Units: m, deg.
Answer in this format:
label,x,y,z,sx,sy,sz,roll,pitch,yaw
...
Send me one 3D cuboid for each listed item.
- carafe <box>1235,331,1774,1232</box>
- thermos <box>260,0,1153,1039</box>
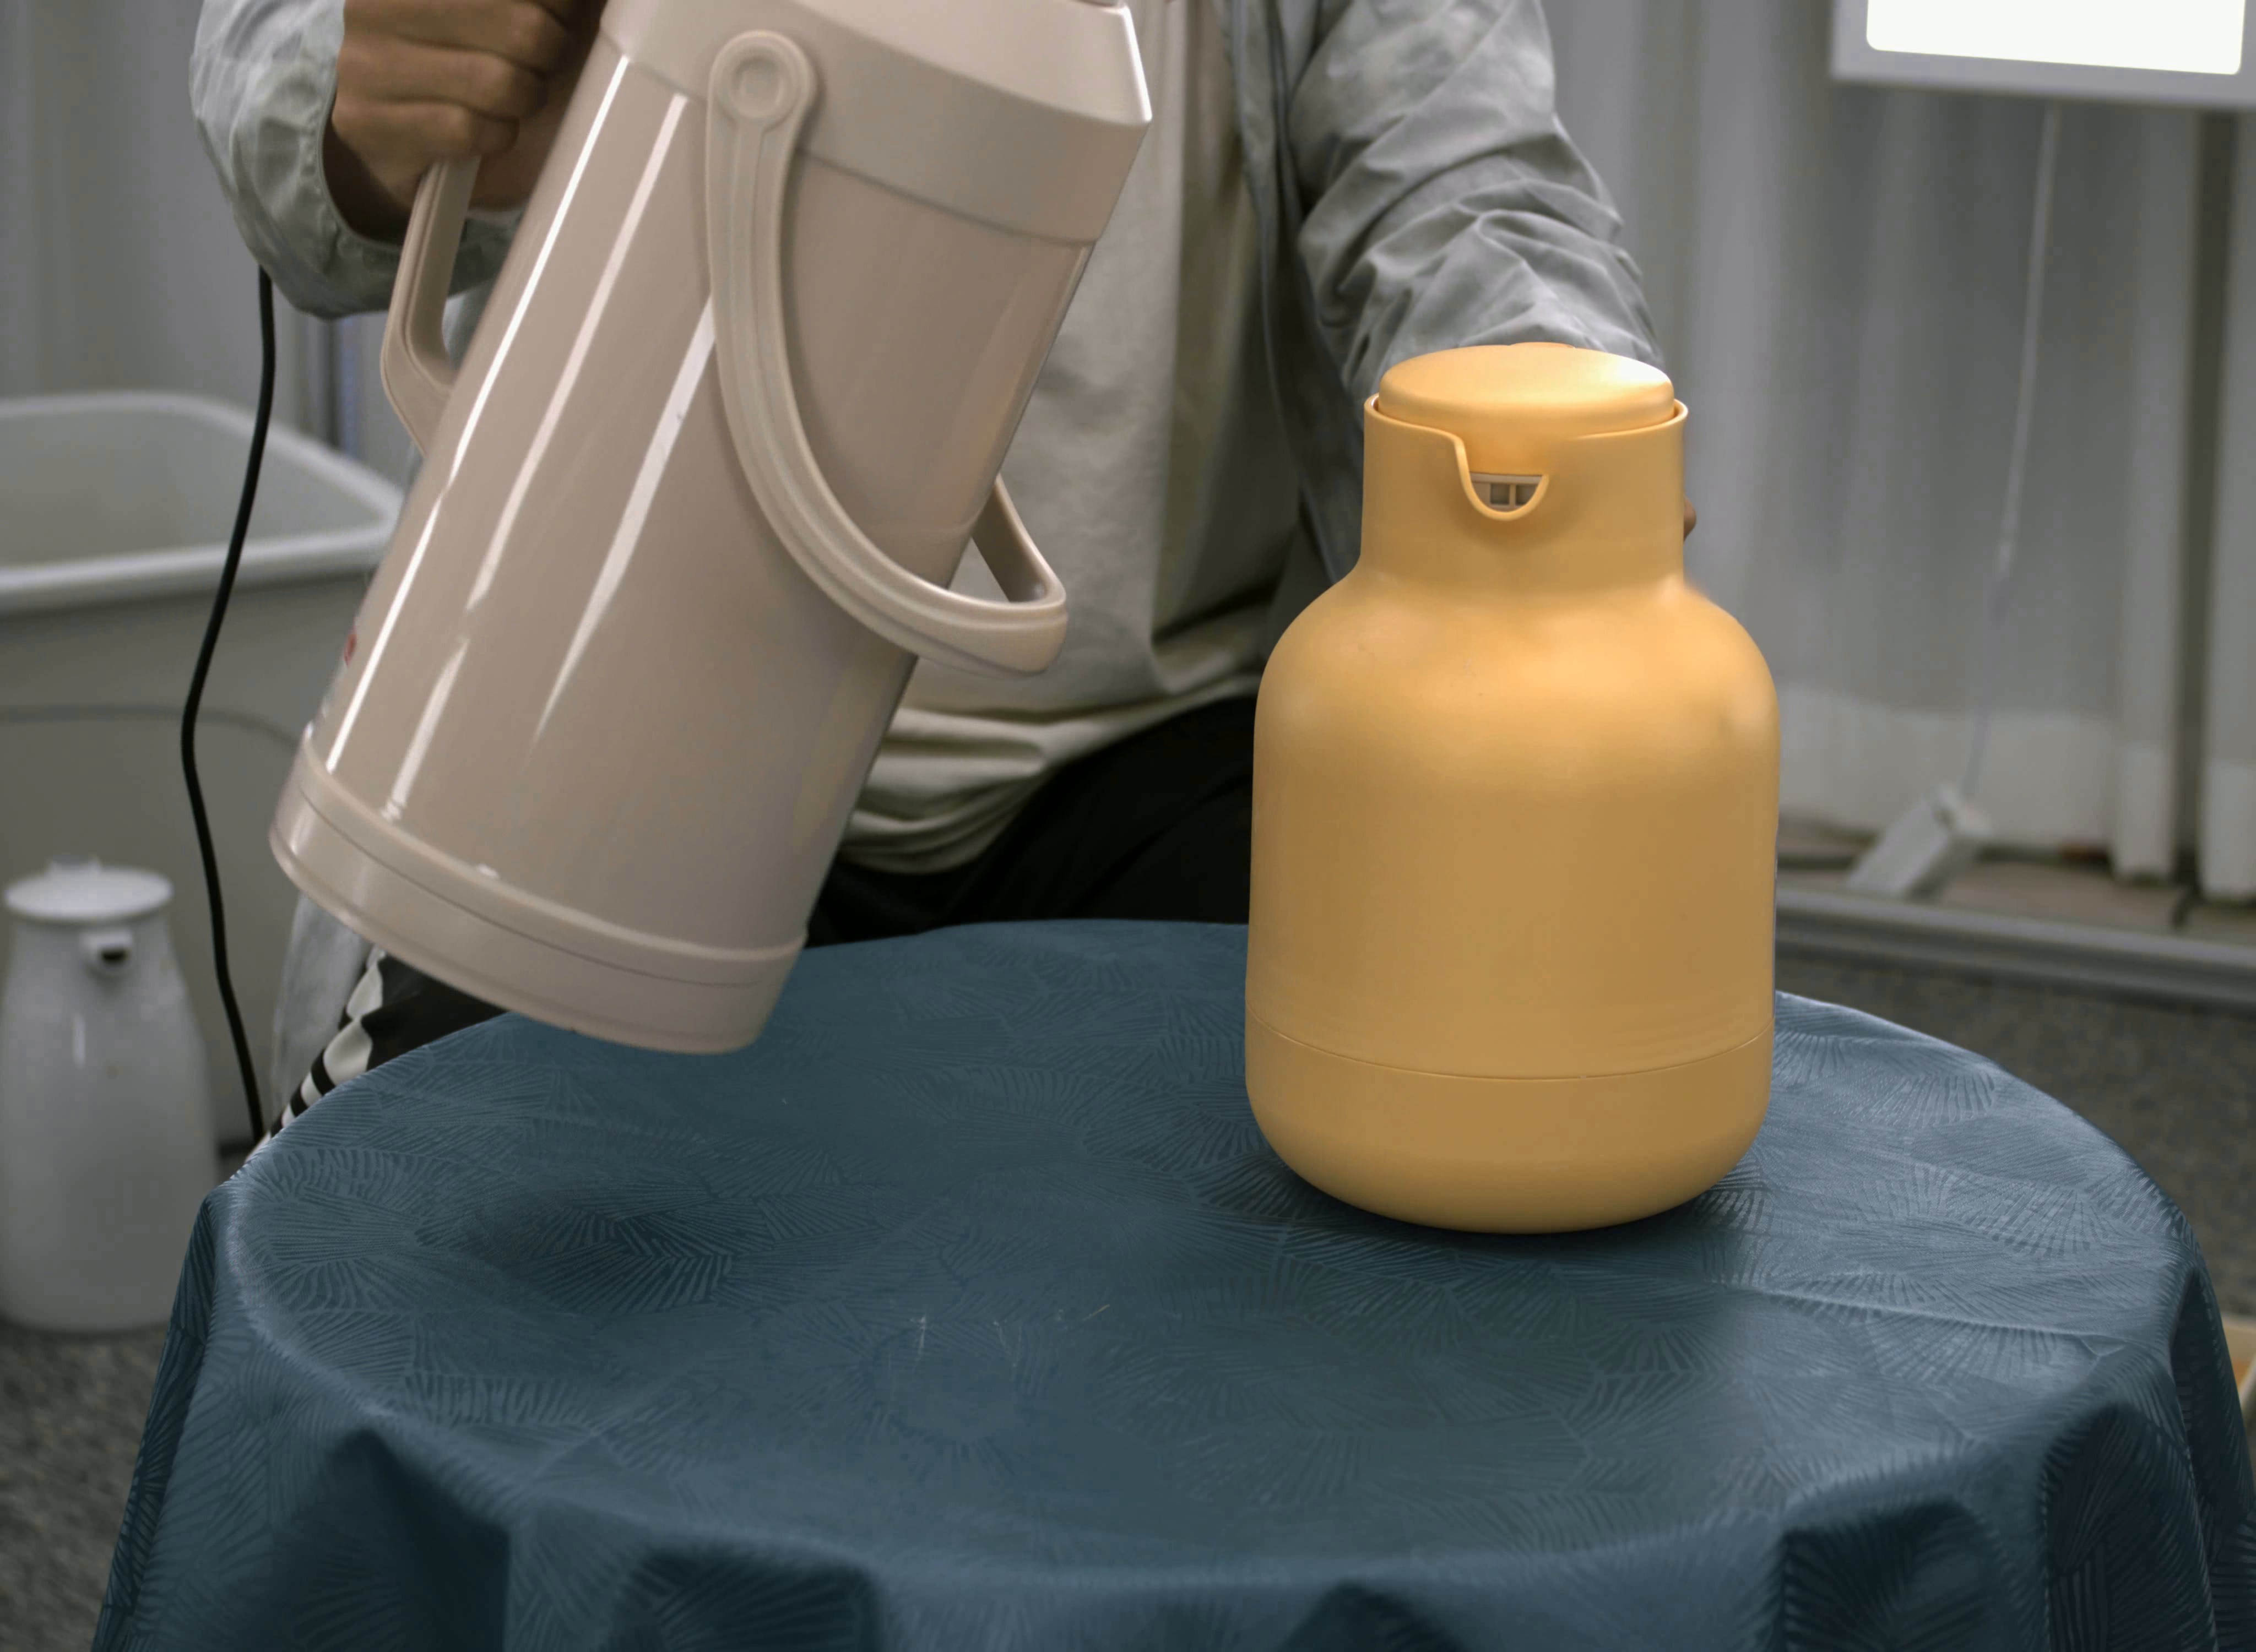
label,x,y,z,sx,sy,sz,roll,pitch,yaw
carafe,0.121,-0.022,1.623,0.162,0.262,0.202,5,18,9
thermos,-0.116,-0.156,1.515,0.205,0.408,0.176,28,16,12
